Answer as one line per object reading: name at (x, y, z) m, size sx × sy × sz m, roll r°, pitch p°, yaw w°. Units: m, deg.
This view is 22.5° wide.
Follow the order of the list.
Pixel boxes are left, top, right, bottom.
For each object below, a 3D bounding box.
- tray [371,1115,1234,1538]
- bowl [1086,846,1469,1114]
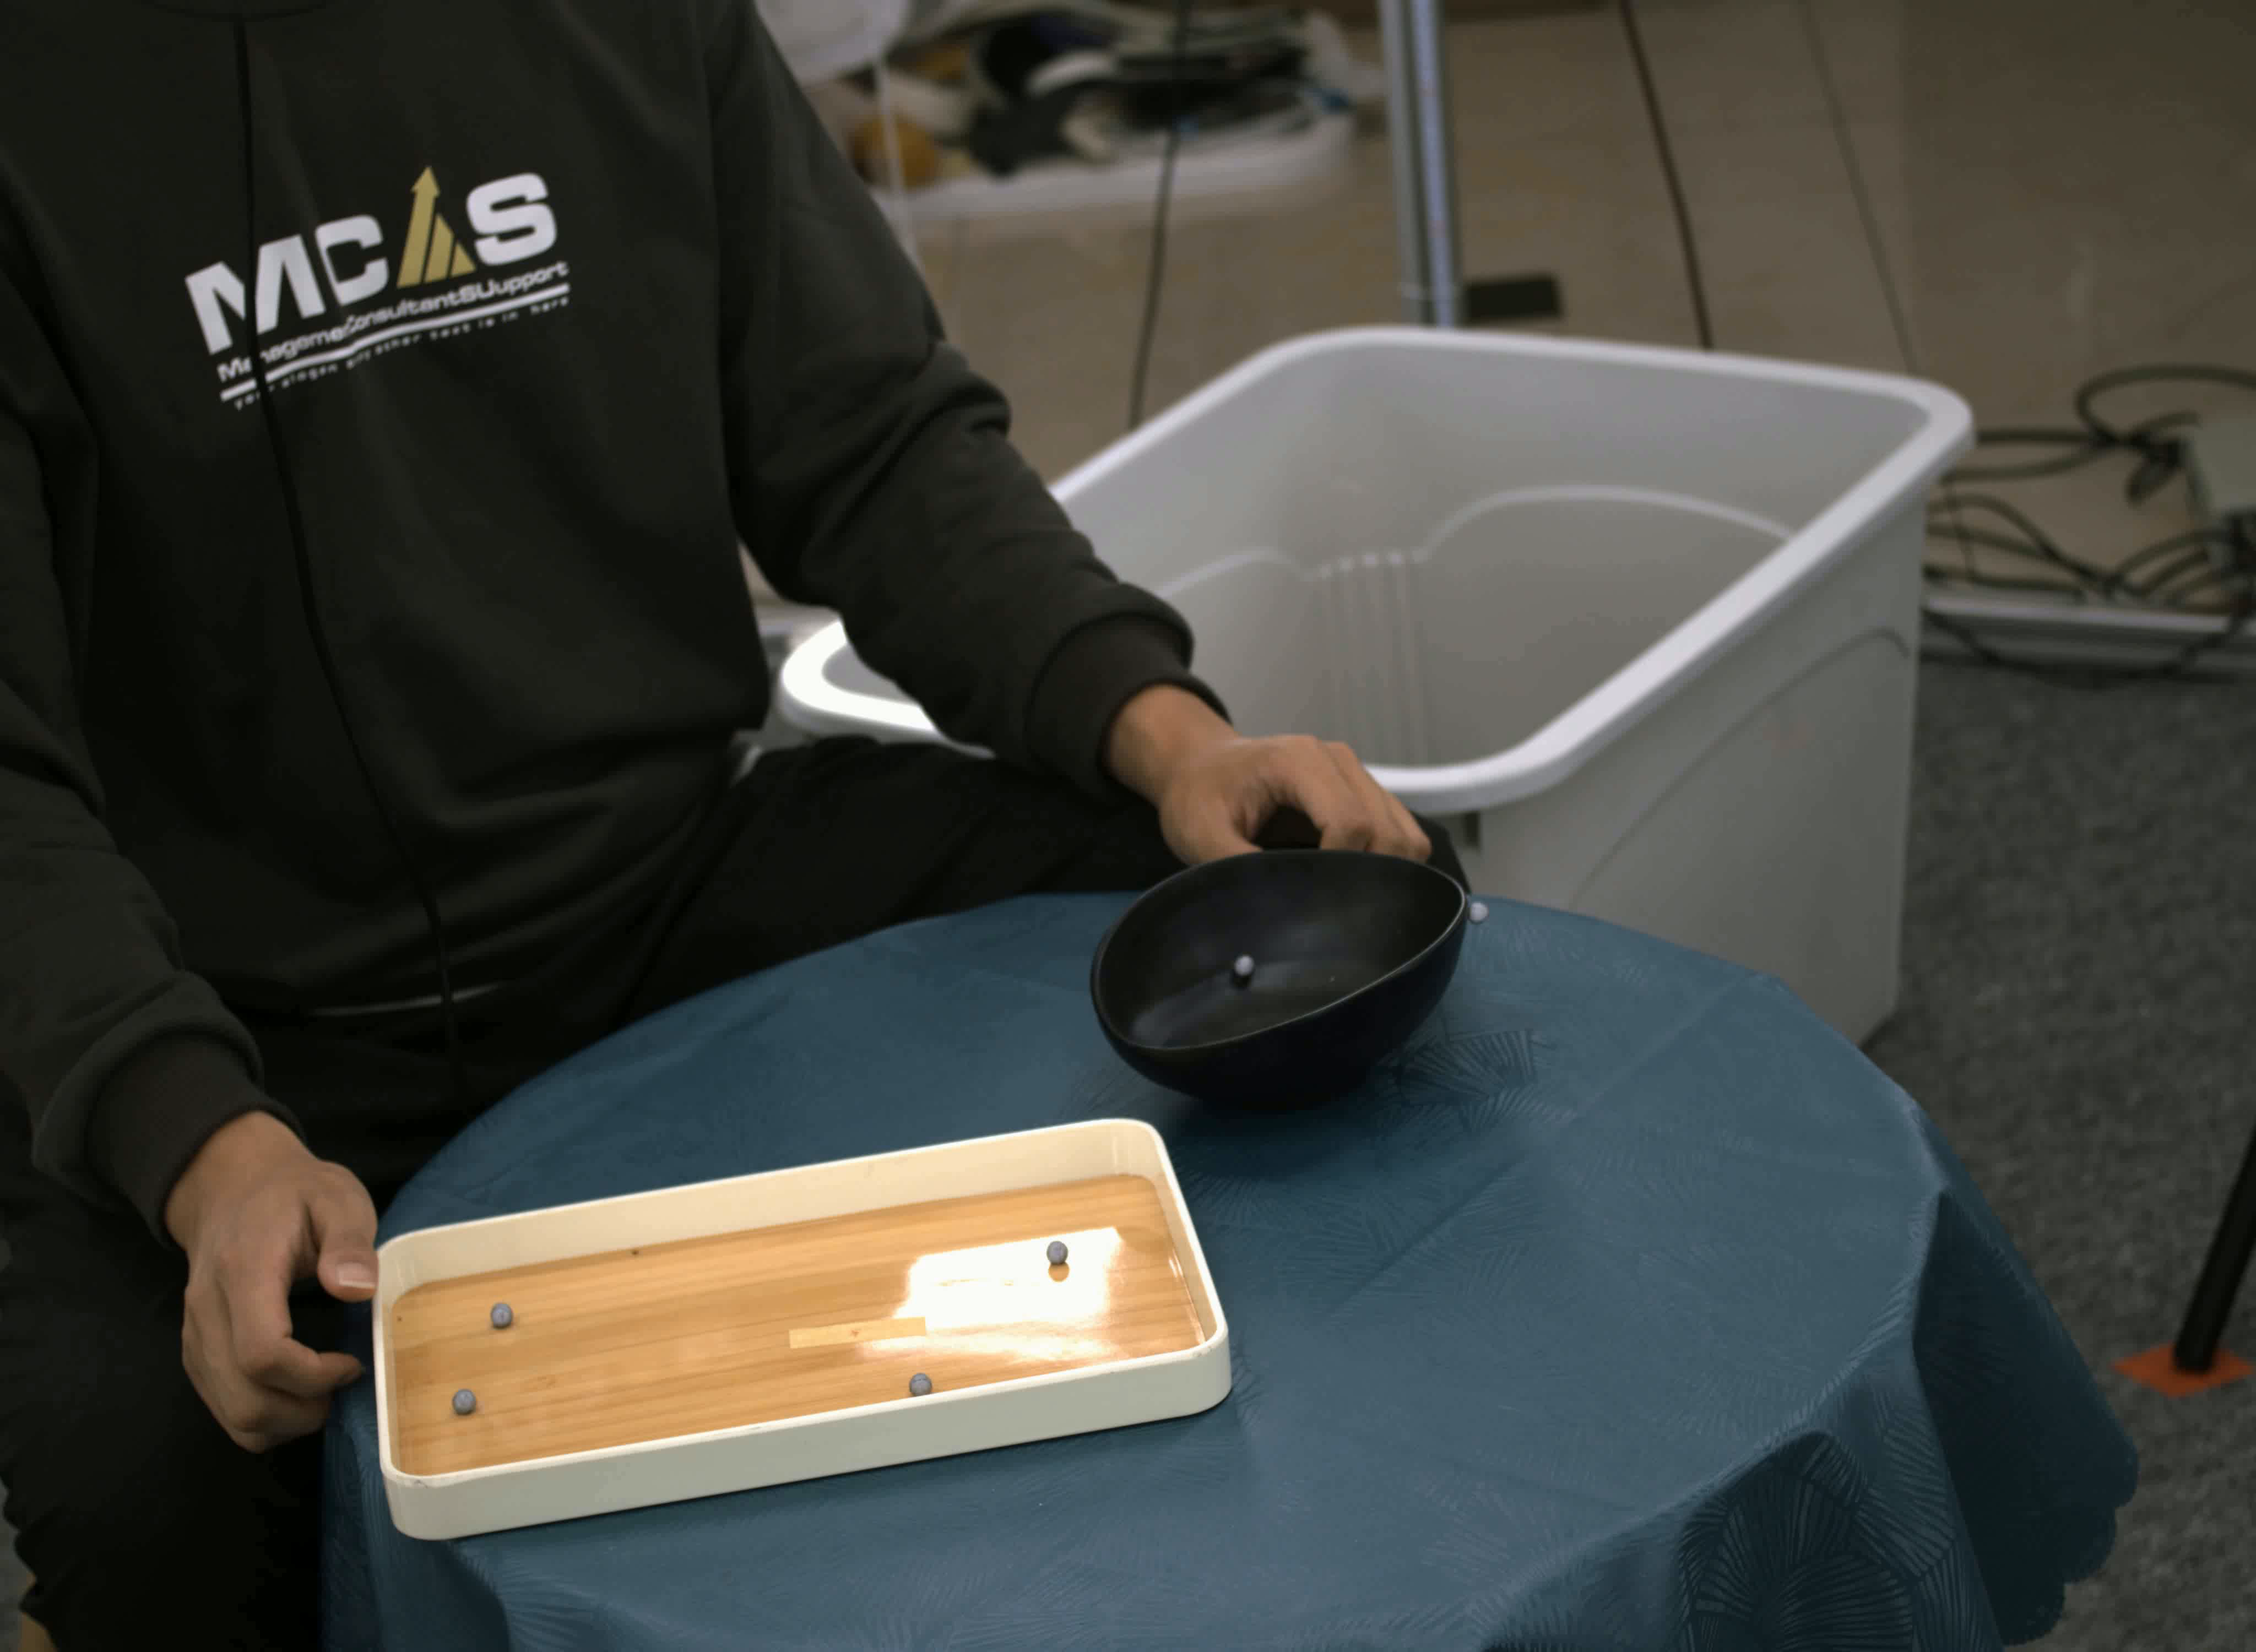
tray at (-0.122, 0.179, 2.058) m, size 0.299 × 0.028 × 0.189 m, roll -9°, pitch 25°, yaw -5°
bowl at (0.061, 0.068, 2.211) m, size 0.136 × 0.068 × 0.168 m, roll 12°, pitch 32°, yaw 37°
